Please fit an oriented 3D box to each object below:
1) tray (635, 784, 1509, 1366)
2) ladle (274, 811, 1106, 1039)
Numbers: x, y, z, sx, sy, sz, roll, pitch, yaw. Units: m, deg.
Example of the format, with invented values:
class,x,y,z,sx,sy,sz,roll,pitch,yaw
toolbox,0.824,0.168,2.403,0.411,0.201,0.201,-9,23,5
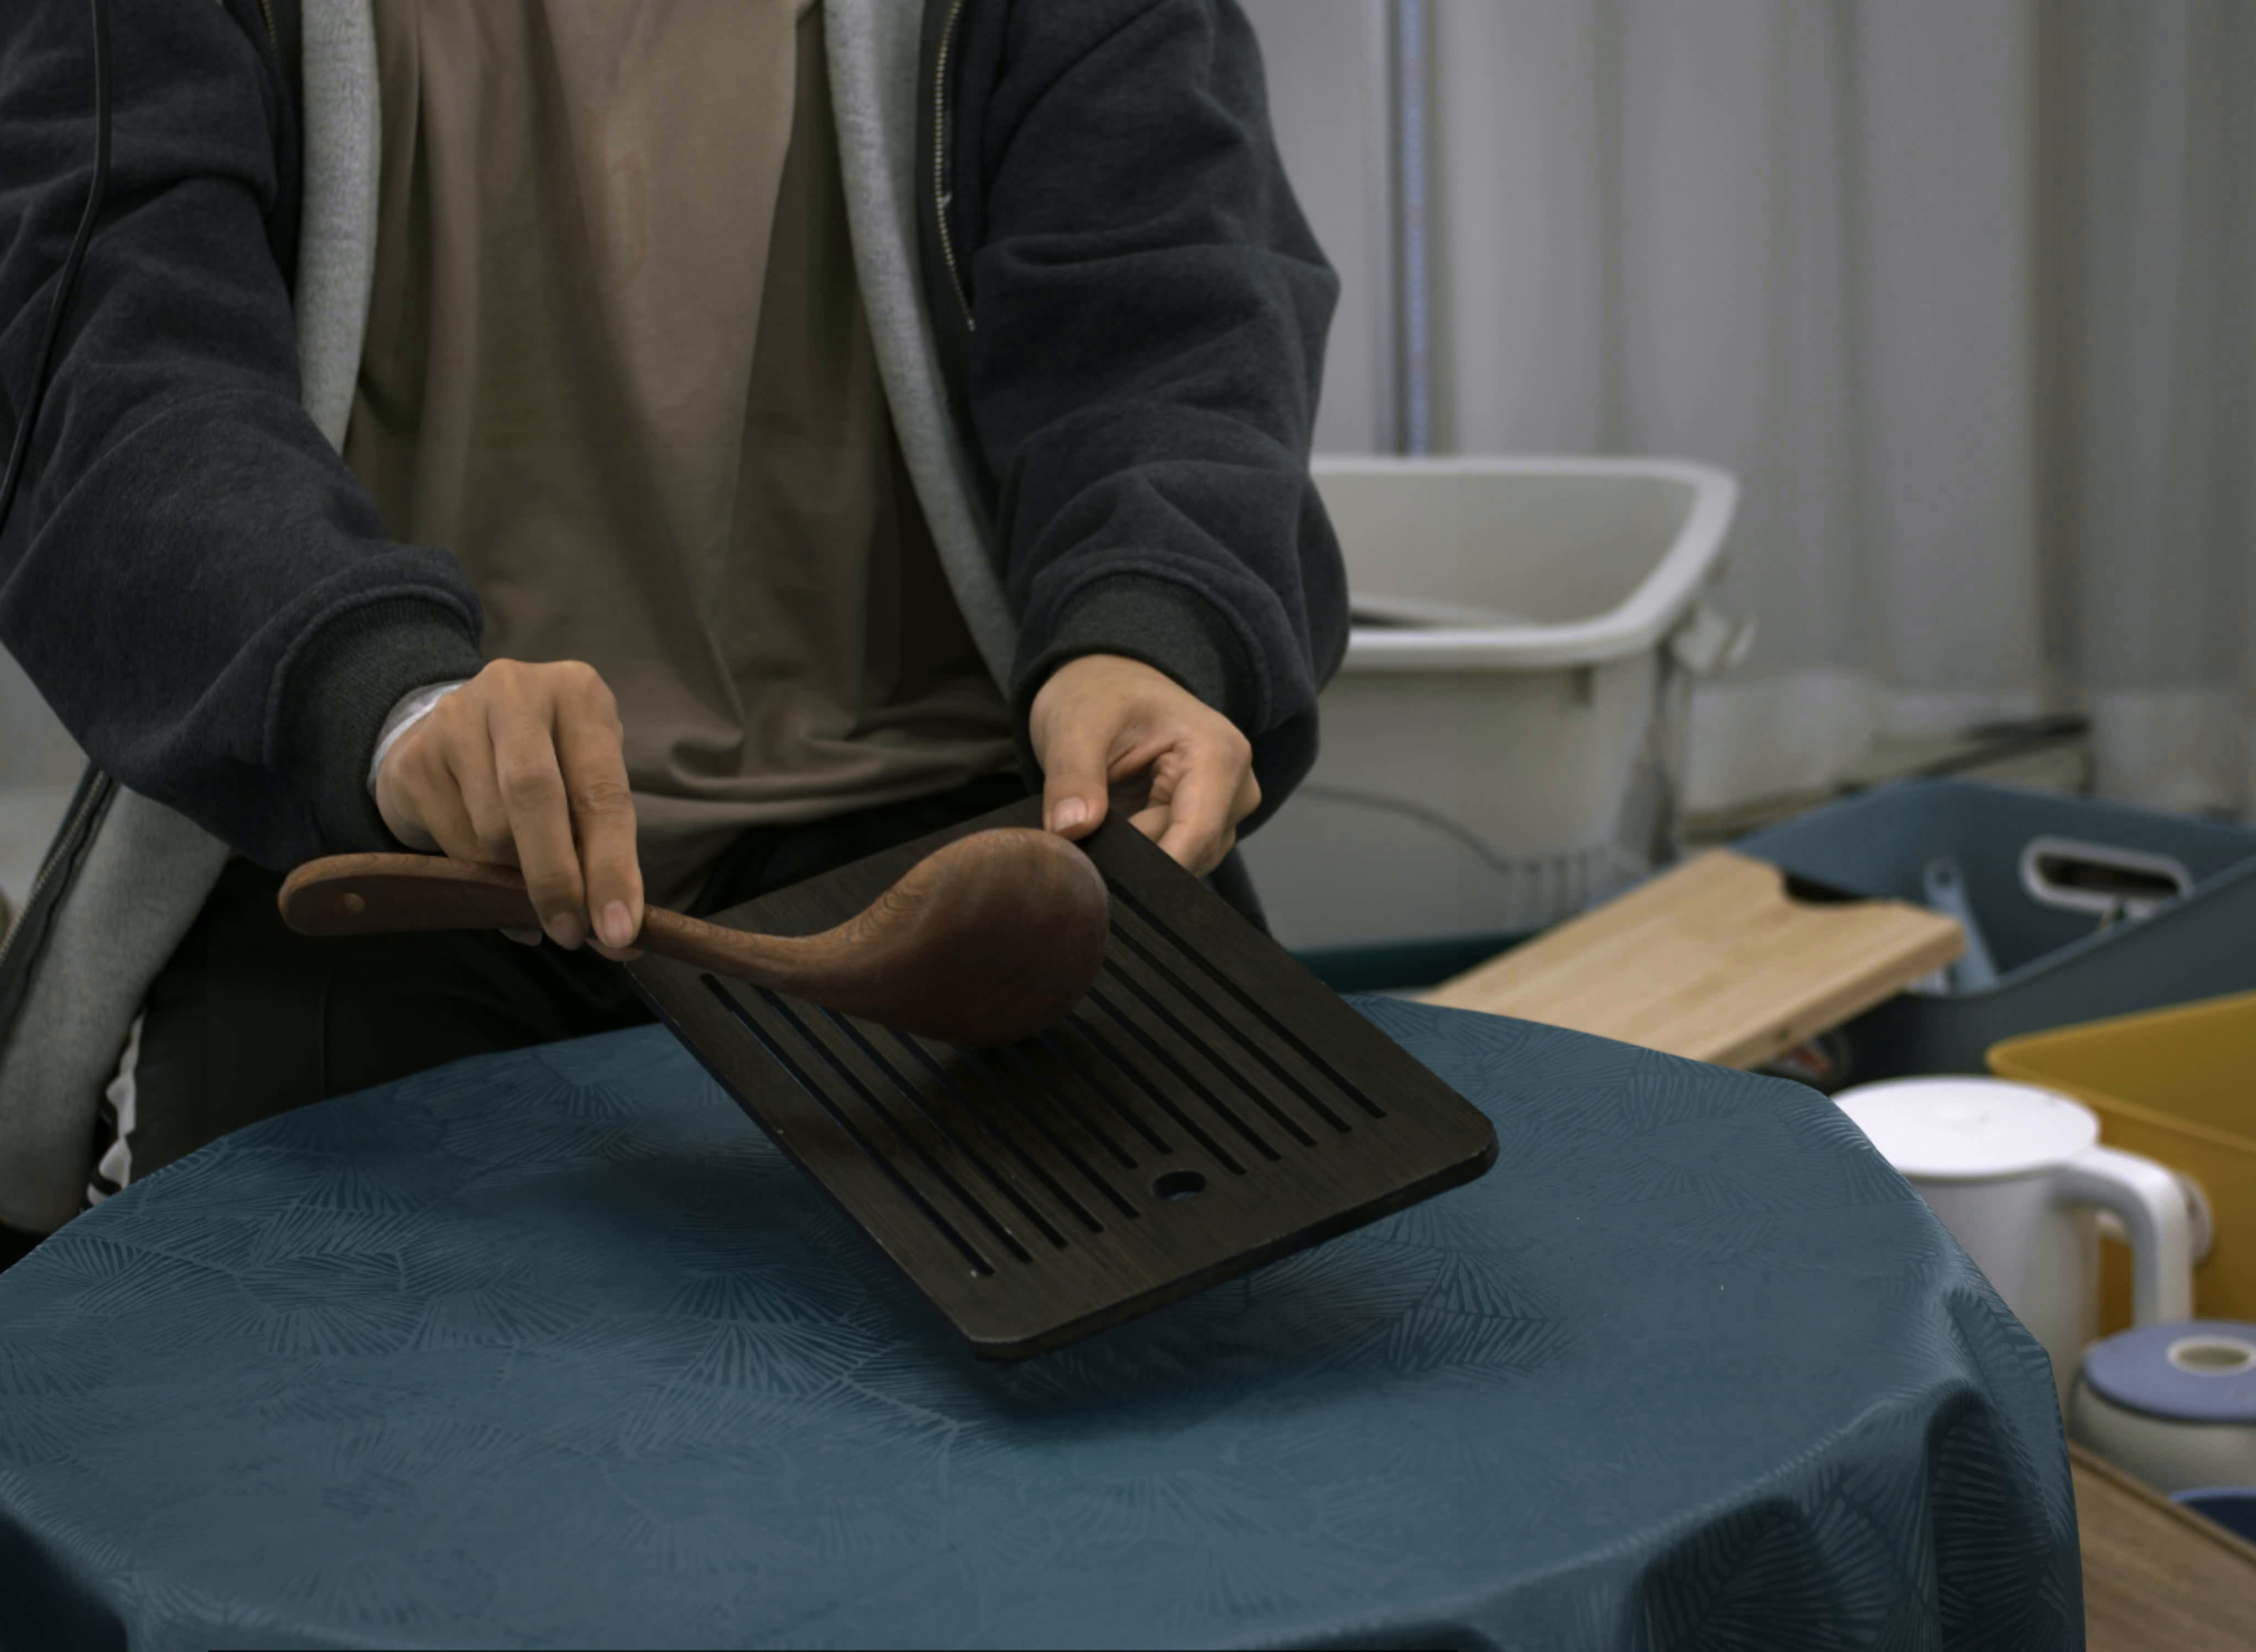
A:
class,x,y,z,sx,sy,sz,roll,pitch,yaw
tray,-0.024,0.071,1.669,0.170,0.018,0.309,-20,28,-17
ladle,-0.134,0.022,1.676,0.260,0.075,0.066,6,36,19
